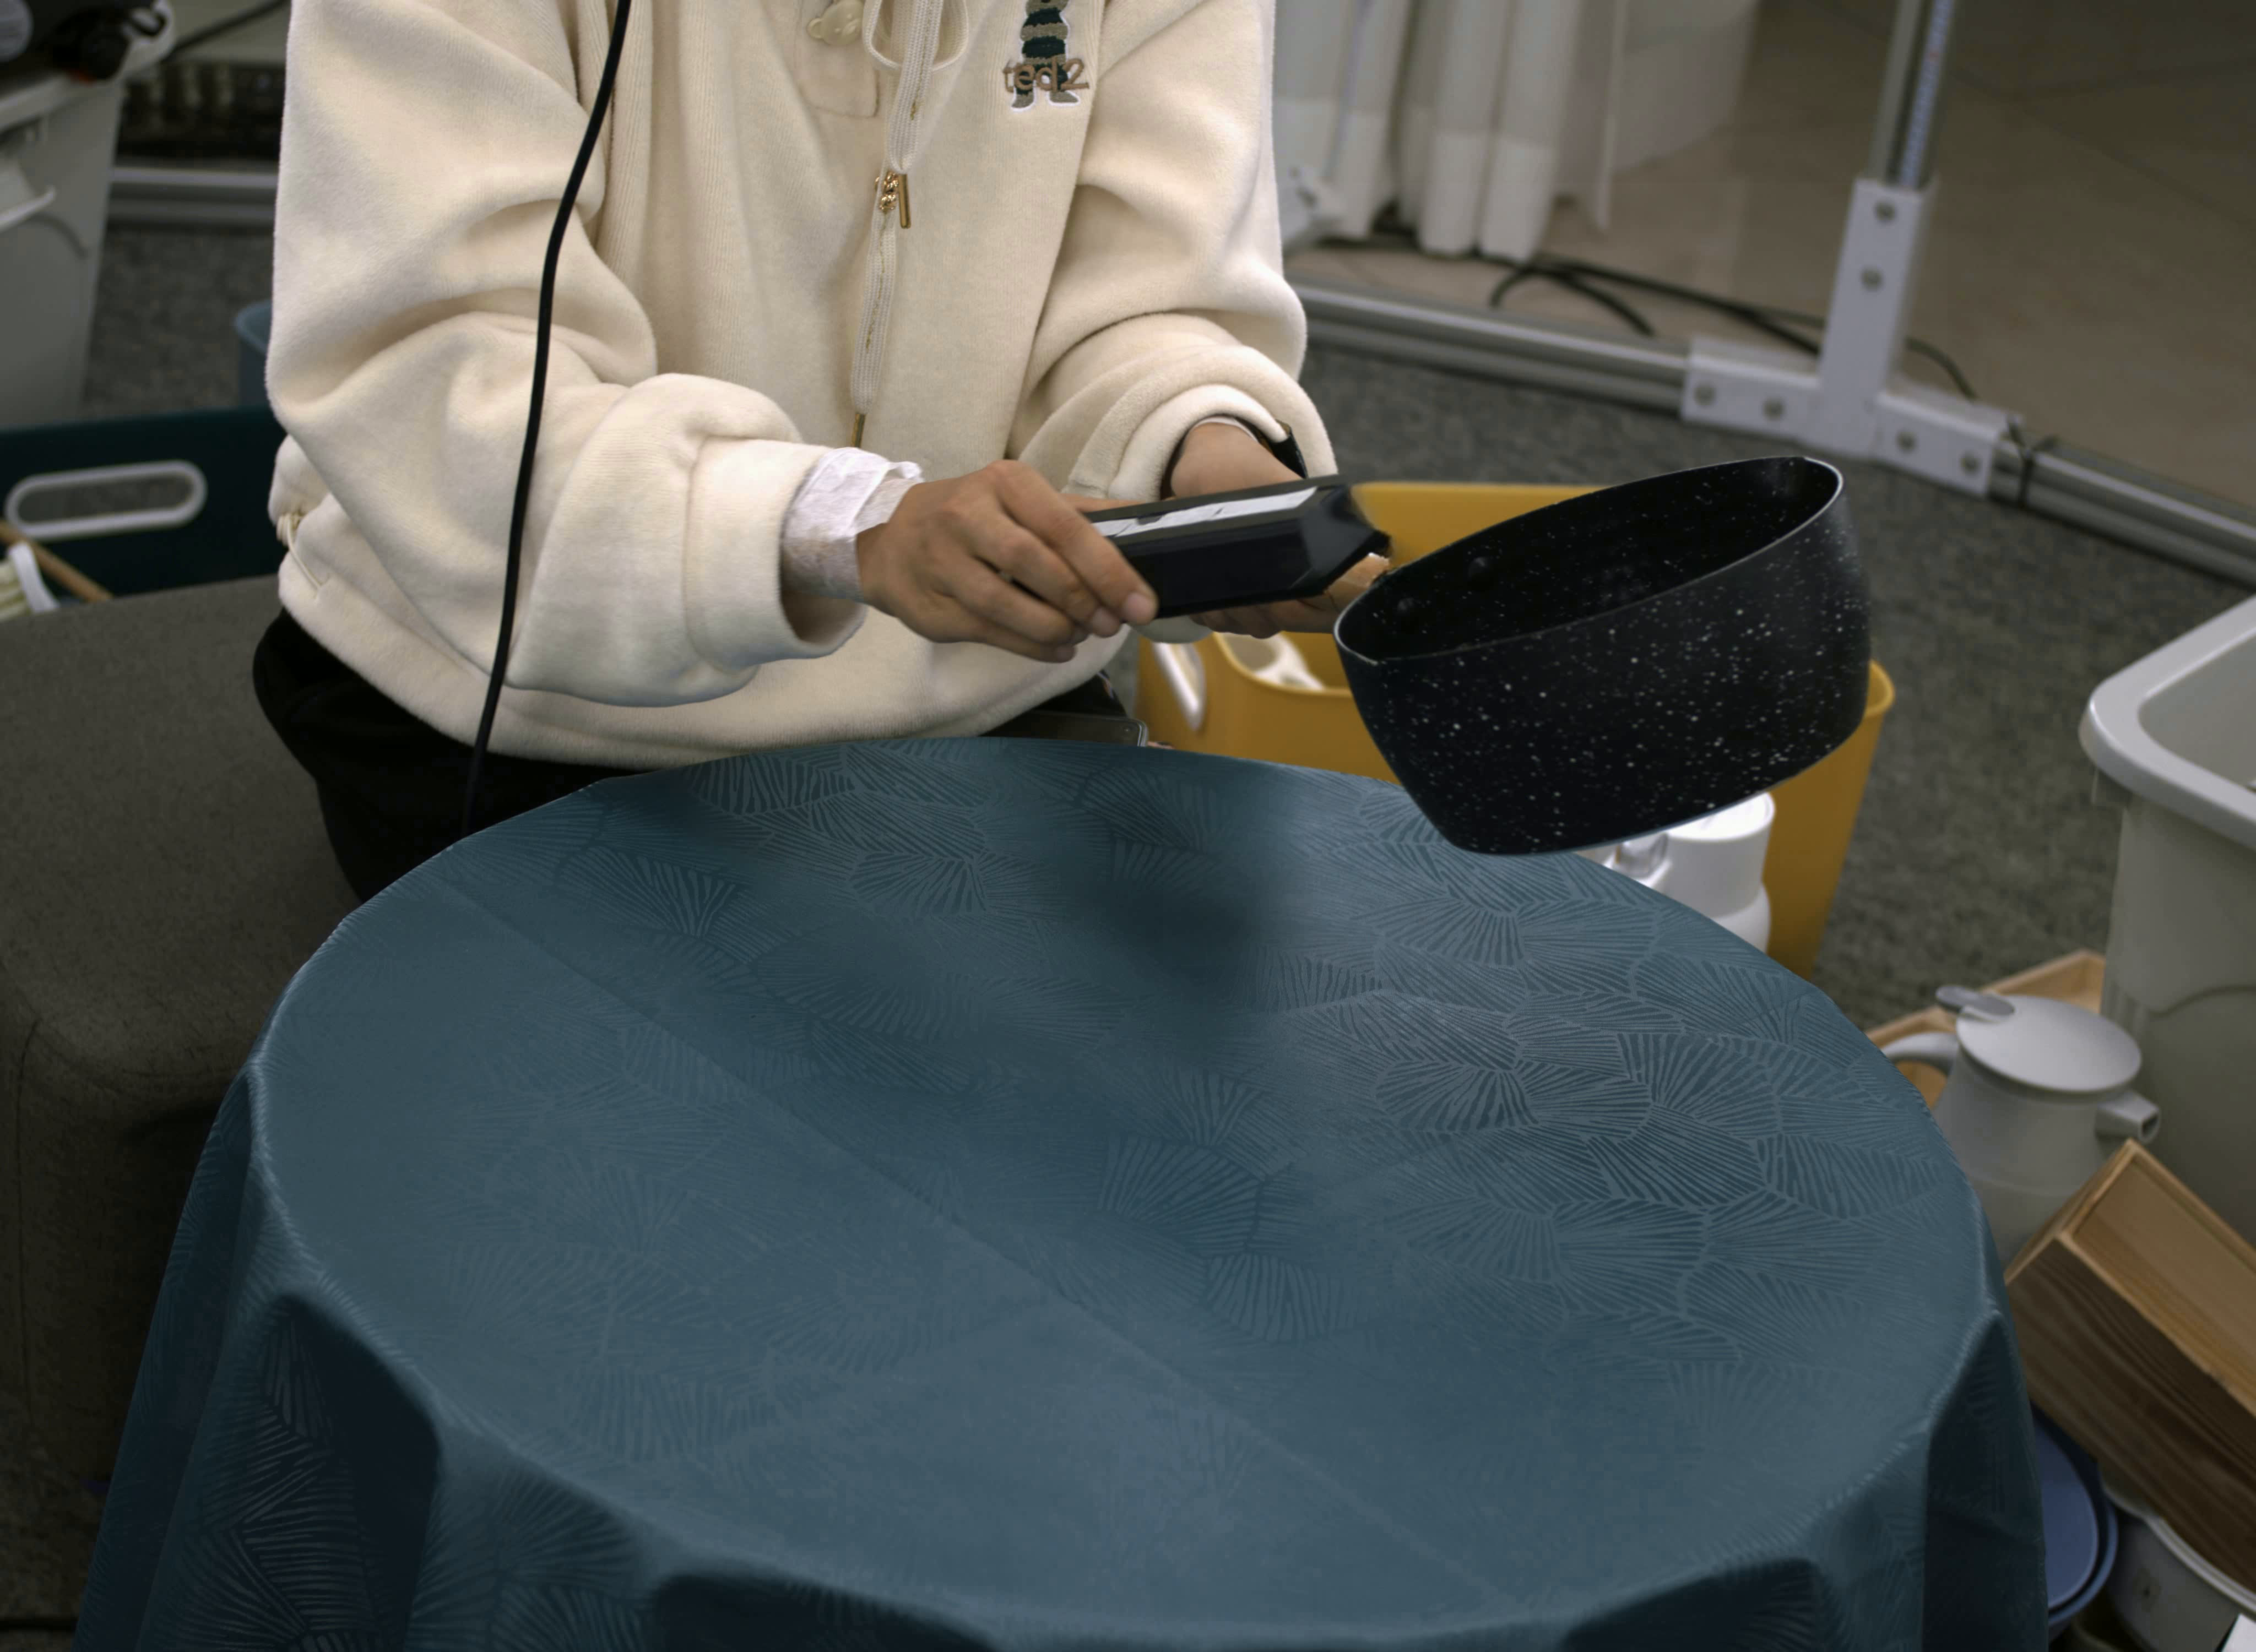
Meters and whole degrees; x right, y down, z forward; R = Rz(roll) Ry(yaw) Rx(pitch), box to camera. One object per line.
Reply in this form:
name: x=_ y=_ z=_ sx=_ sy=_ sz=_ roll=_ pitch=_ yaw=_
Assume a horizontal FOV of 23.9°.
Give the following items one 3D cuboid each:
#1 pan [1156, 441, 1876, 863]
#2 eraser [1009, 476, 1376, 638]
pan: x=0.122 y=-0.068 z=1.900 sx=0.207 sy=0.108 sz=0.344 roll=-28 pitch=18 yaw=-31
eraser: x=0.023 y=-0.095 z=1.872 sx=0.126 sy=0.030 sz=0.053 roll=-7 pitch=20 yaw=34
